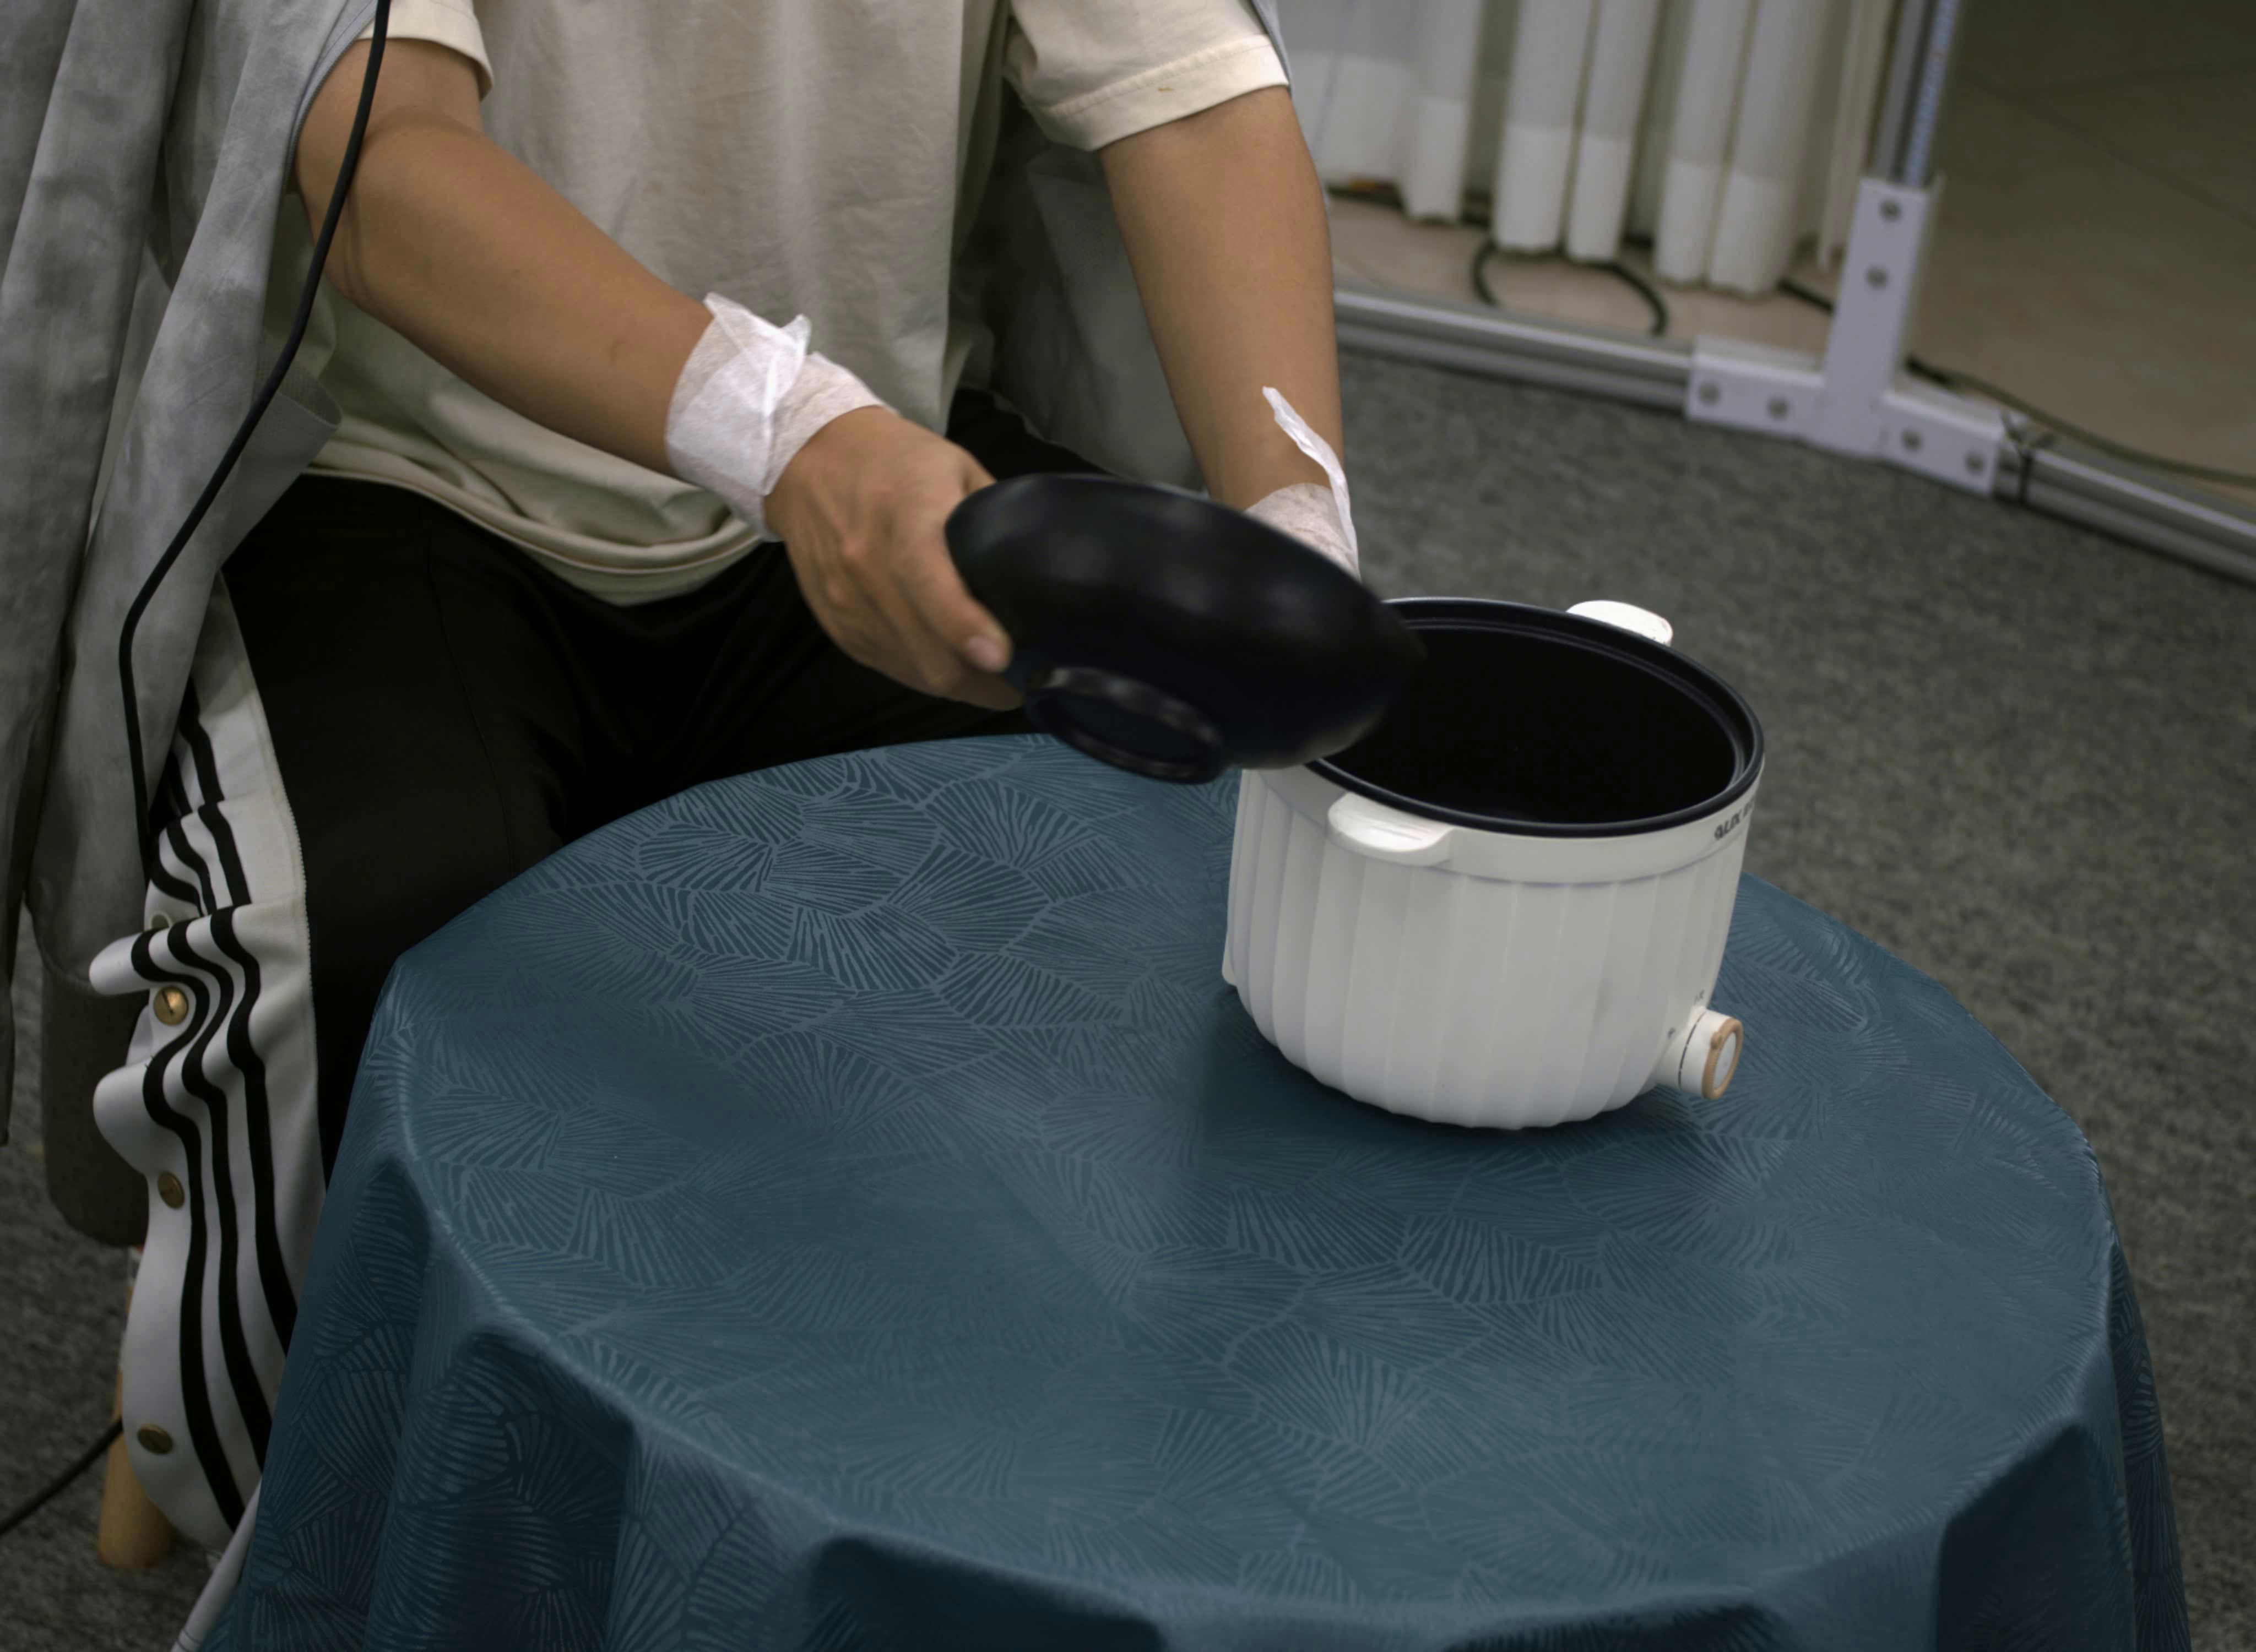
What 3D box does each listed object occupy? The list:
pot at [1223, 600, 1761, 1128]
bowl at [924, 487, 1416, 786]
[{"bbox_3d":[0.131,0.019,1.889,0.191,0.142,0.240,15,28,23],"label":"pot"},{"bbox_3d":[0.006,-0.055,1.746,0.170,0.067,0.136,15,-16,16],"label":"bowl"}]
